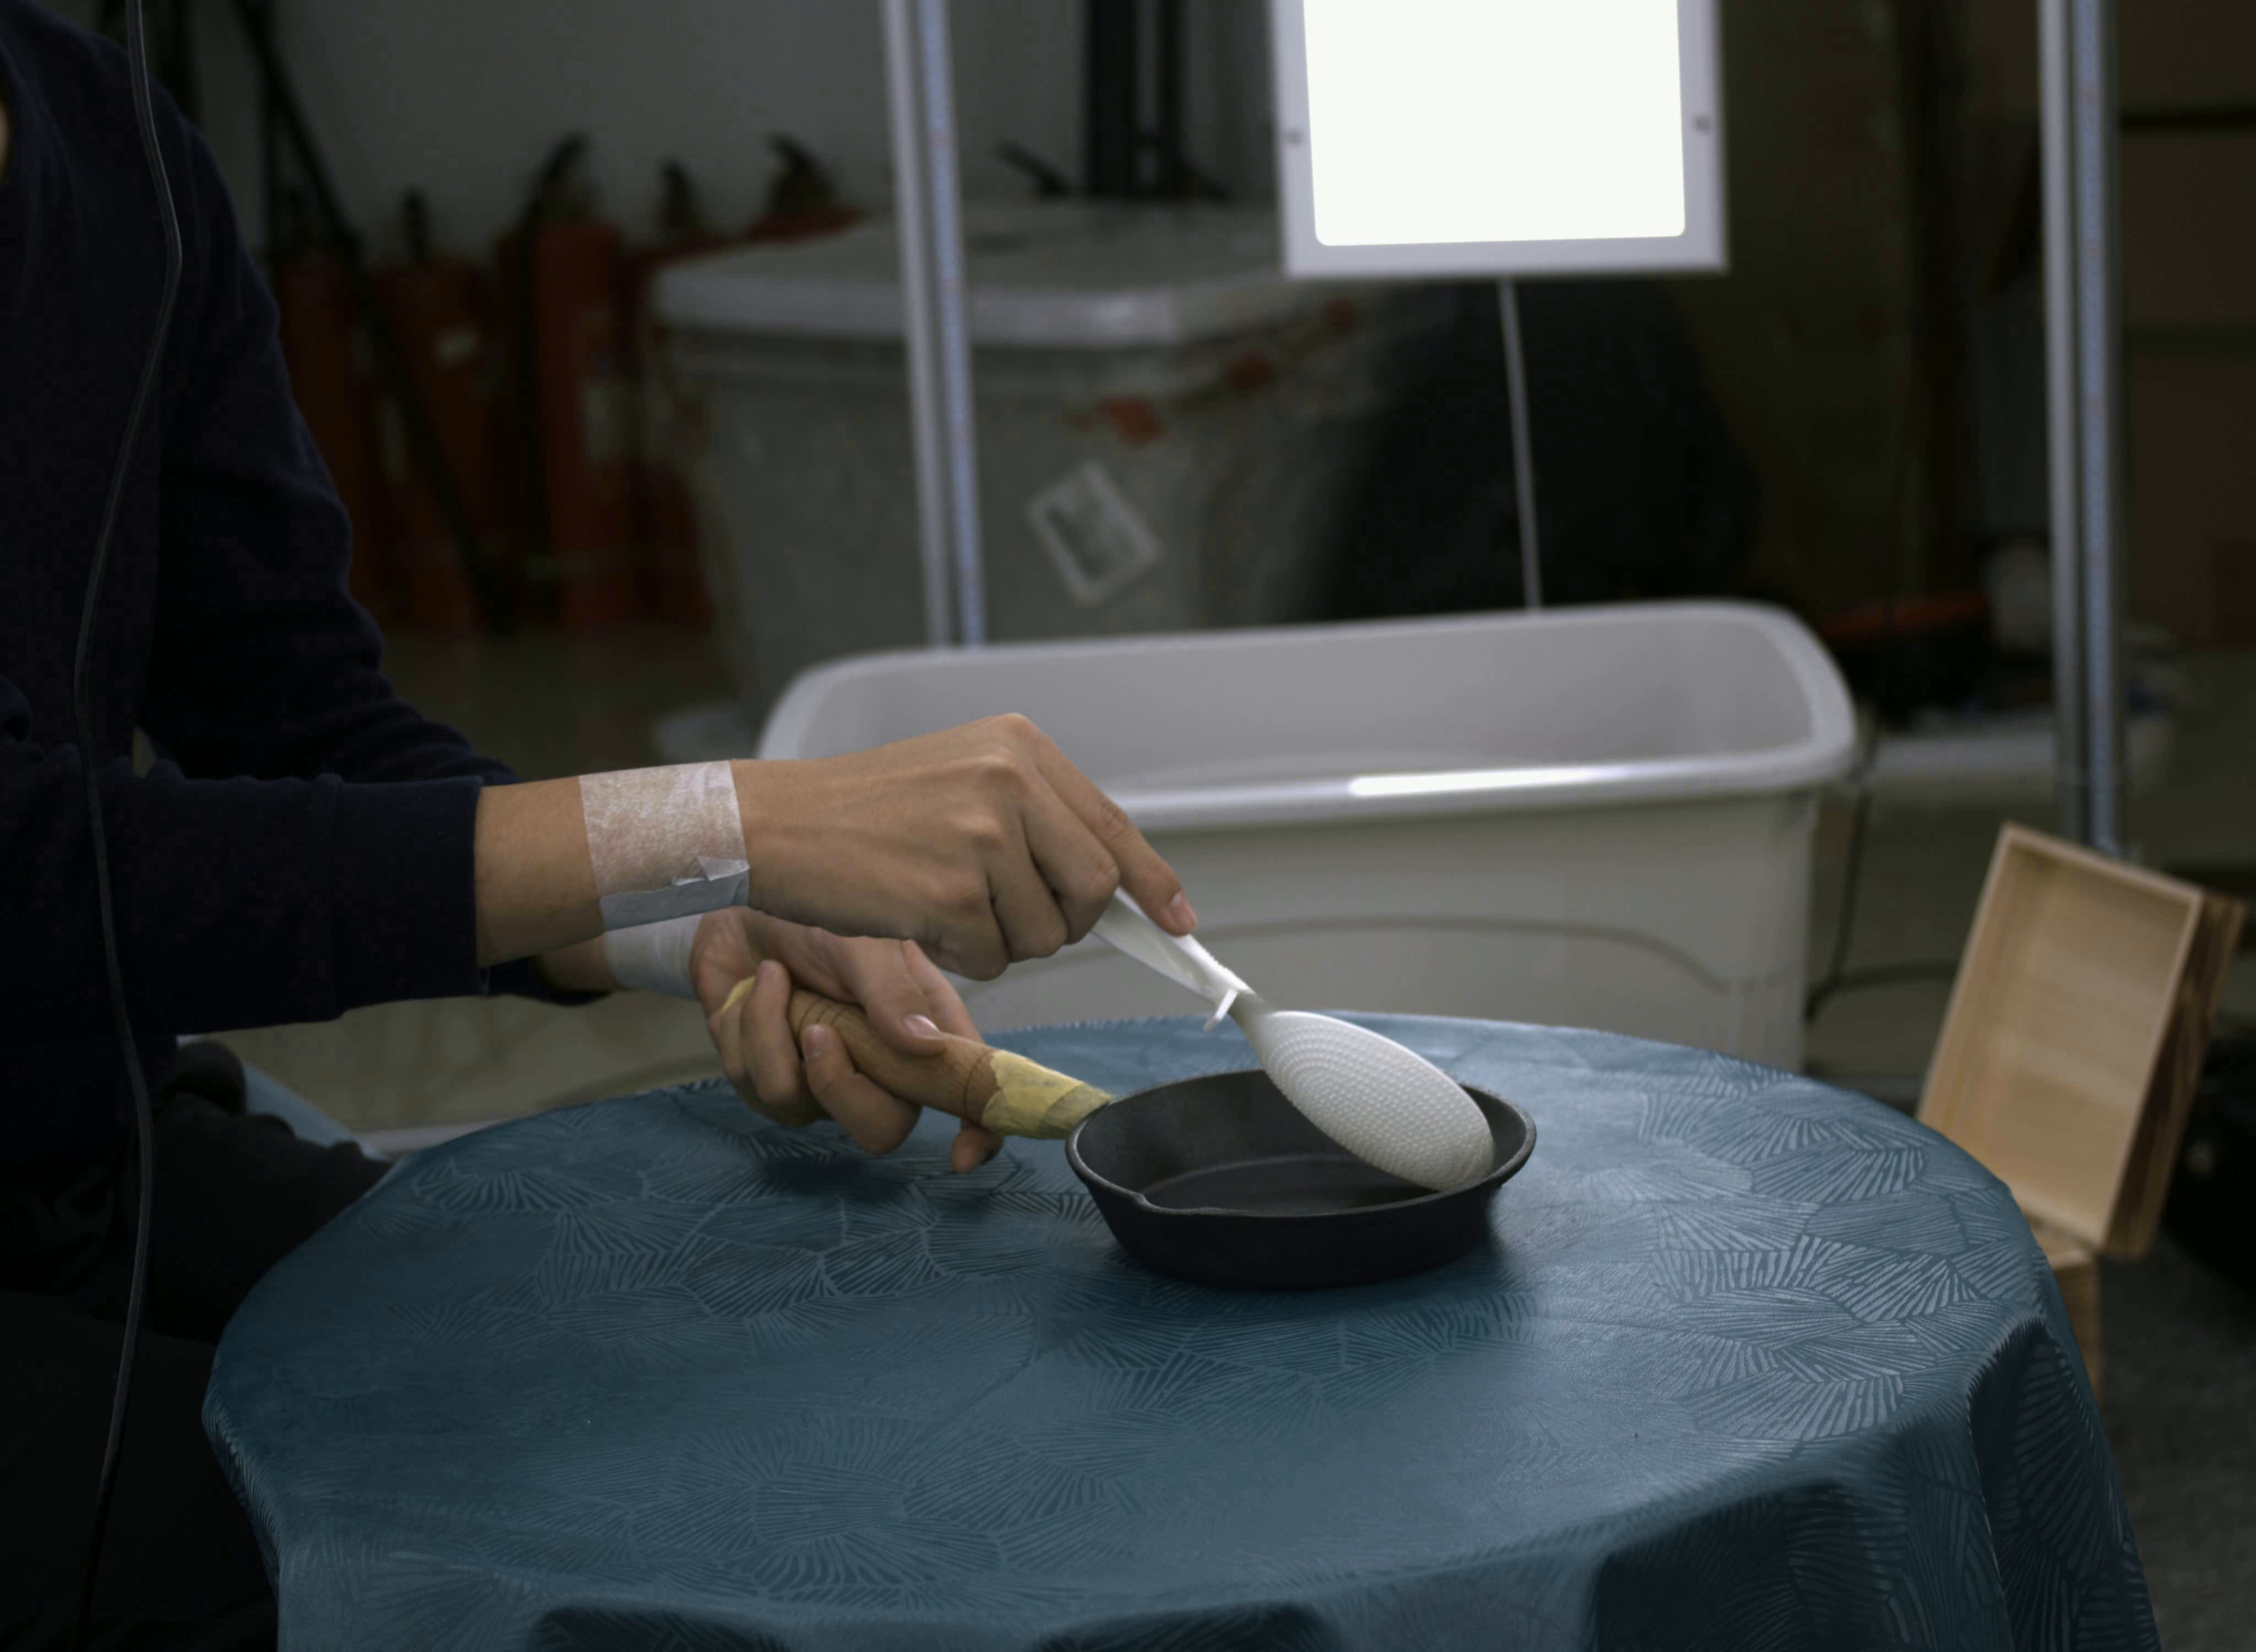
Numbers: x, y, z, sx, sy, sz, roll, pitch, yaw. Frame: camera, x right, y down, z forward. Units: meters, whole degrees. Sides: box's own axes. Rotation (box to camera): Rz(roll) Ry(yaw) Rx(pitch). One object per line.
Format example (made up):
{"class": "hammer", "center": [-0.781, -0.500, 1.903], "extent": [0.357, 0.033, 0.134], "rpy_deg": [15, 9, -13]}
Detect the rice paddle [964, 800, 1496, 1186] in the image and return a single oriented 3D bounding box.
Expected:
{"class": "rice paddle", "center": [0.038, 0.060, 1.836], "extent": [0.029, 0.204, 0.070], "rpy_deg": [-58, 5, -33]}

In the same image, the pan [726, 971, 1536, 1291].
{"class": "pan", "center": [-0.009, 0.099, 1.883], "extent": [0.331, 0.050, 0.165], "rpy_deg": [11, 21, 37]}
